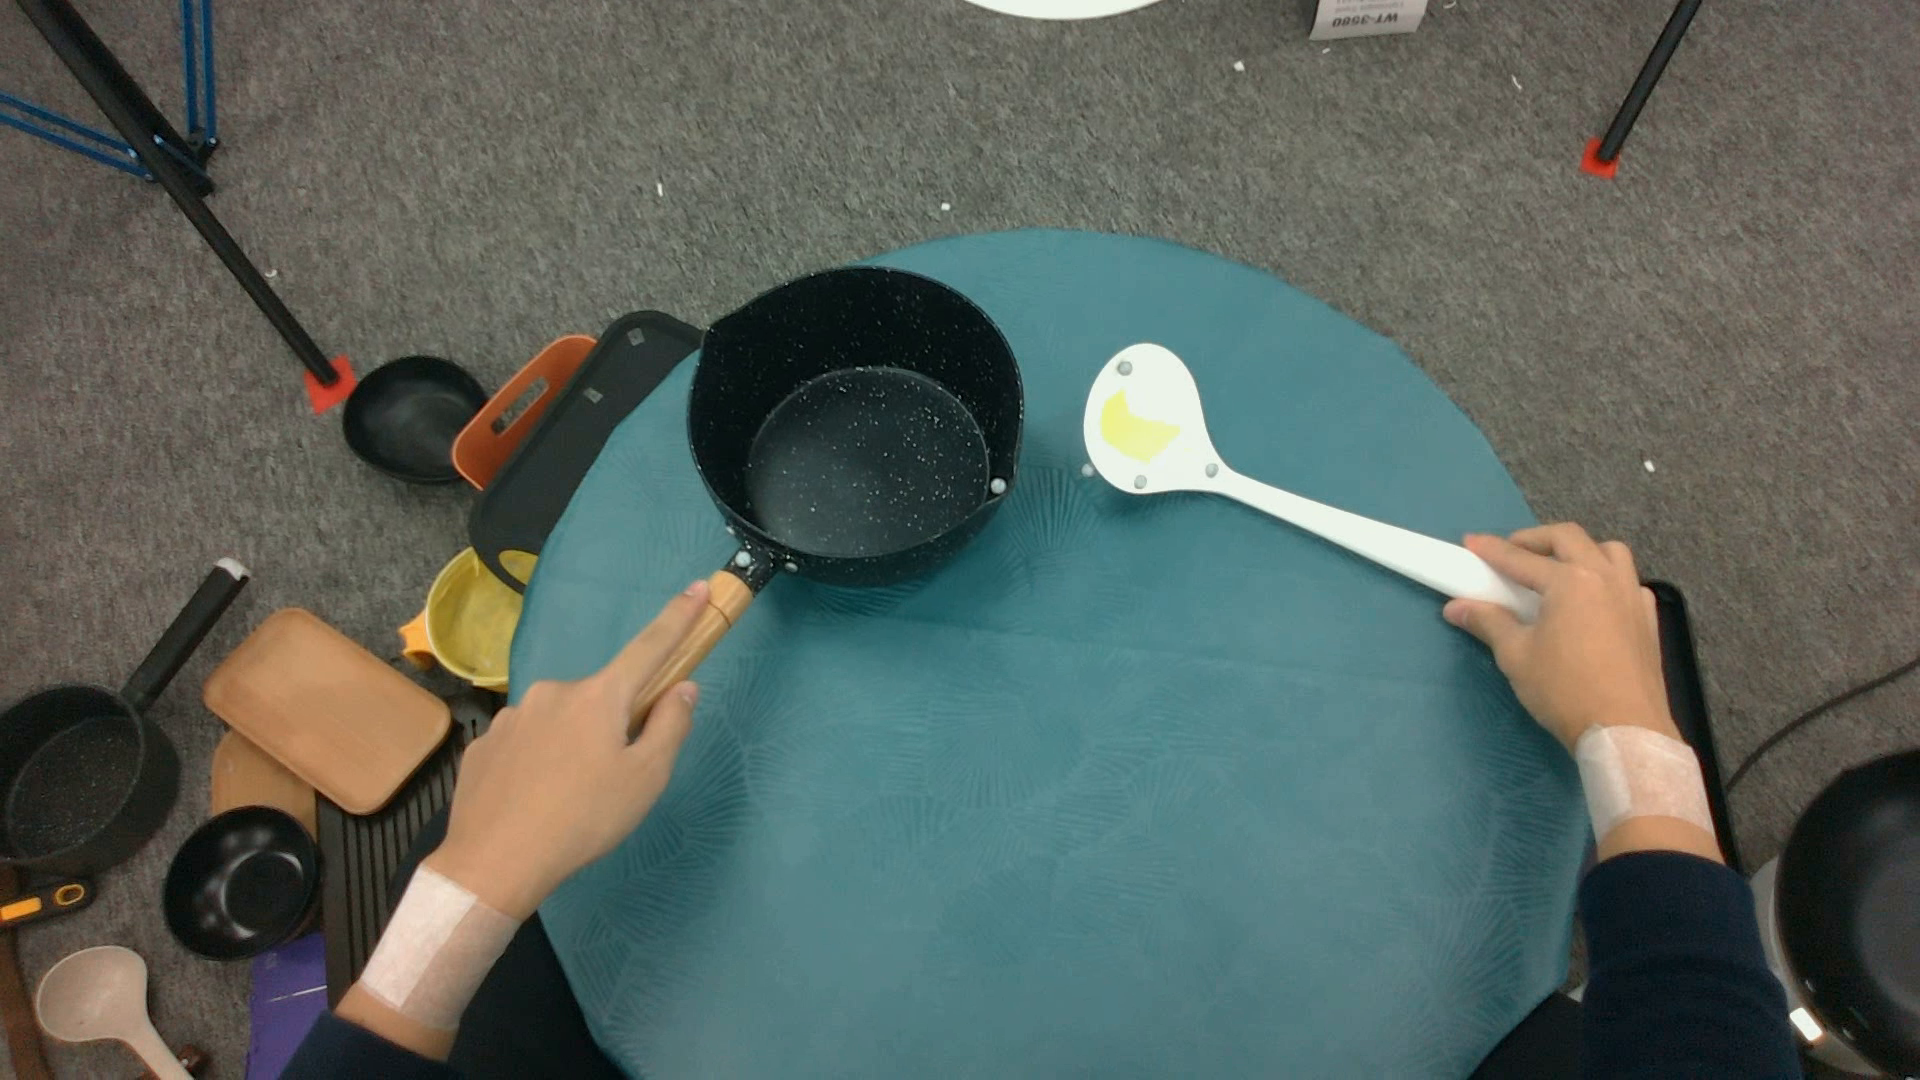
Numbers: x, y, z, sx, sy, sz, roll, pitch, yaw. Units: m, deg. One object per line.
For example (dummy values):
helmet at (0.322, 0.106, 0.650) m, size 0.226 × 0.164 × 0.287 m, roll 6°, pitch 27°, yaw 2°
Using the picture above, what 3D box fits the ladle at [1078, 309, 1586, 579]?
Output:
ladle at (0.209, -0.046, 0.778) m, size 0.293 × 0.070 × 0.090 m, roll 21°, pitch 82°, yaw 10°

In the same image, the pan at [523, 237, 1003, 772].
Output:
pan at (-0.108, -0.011, 0.742) m, size 0.207 × 0.108 × 0.344 m, roll 27°, pitch 68°, yaw 11°
